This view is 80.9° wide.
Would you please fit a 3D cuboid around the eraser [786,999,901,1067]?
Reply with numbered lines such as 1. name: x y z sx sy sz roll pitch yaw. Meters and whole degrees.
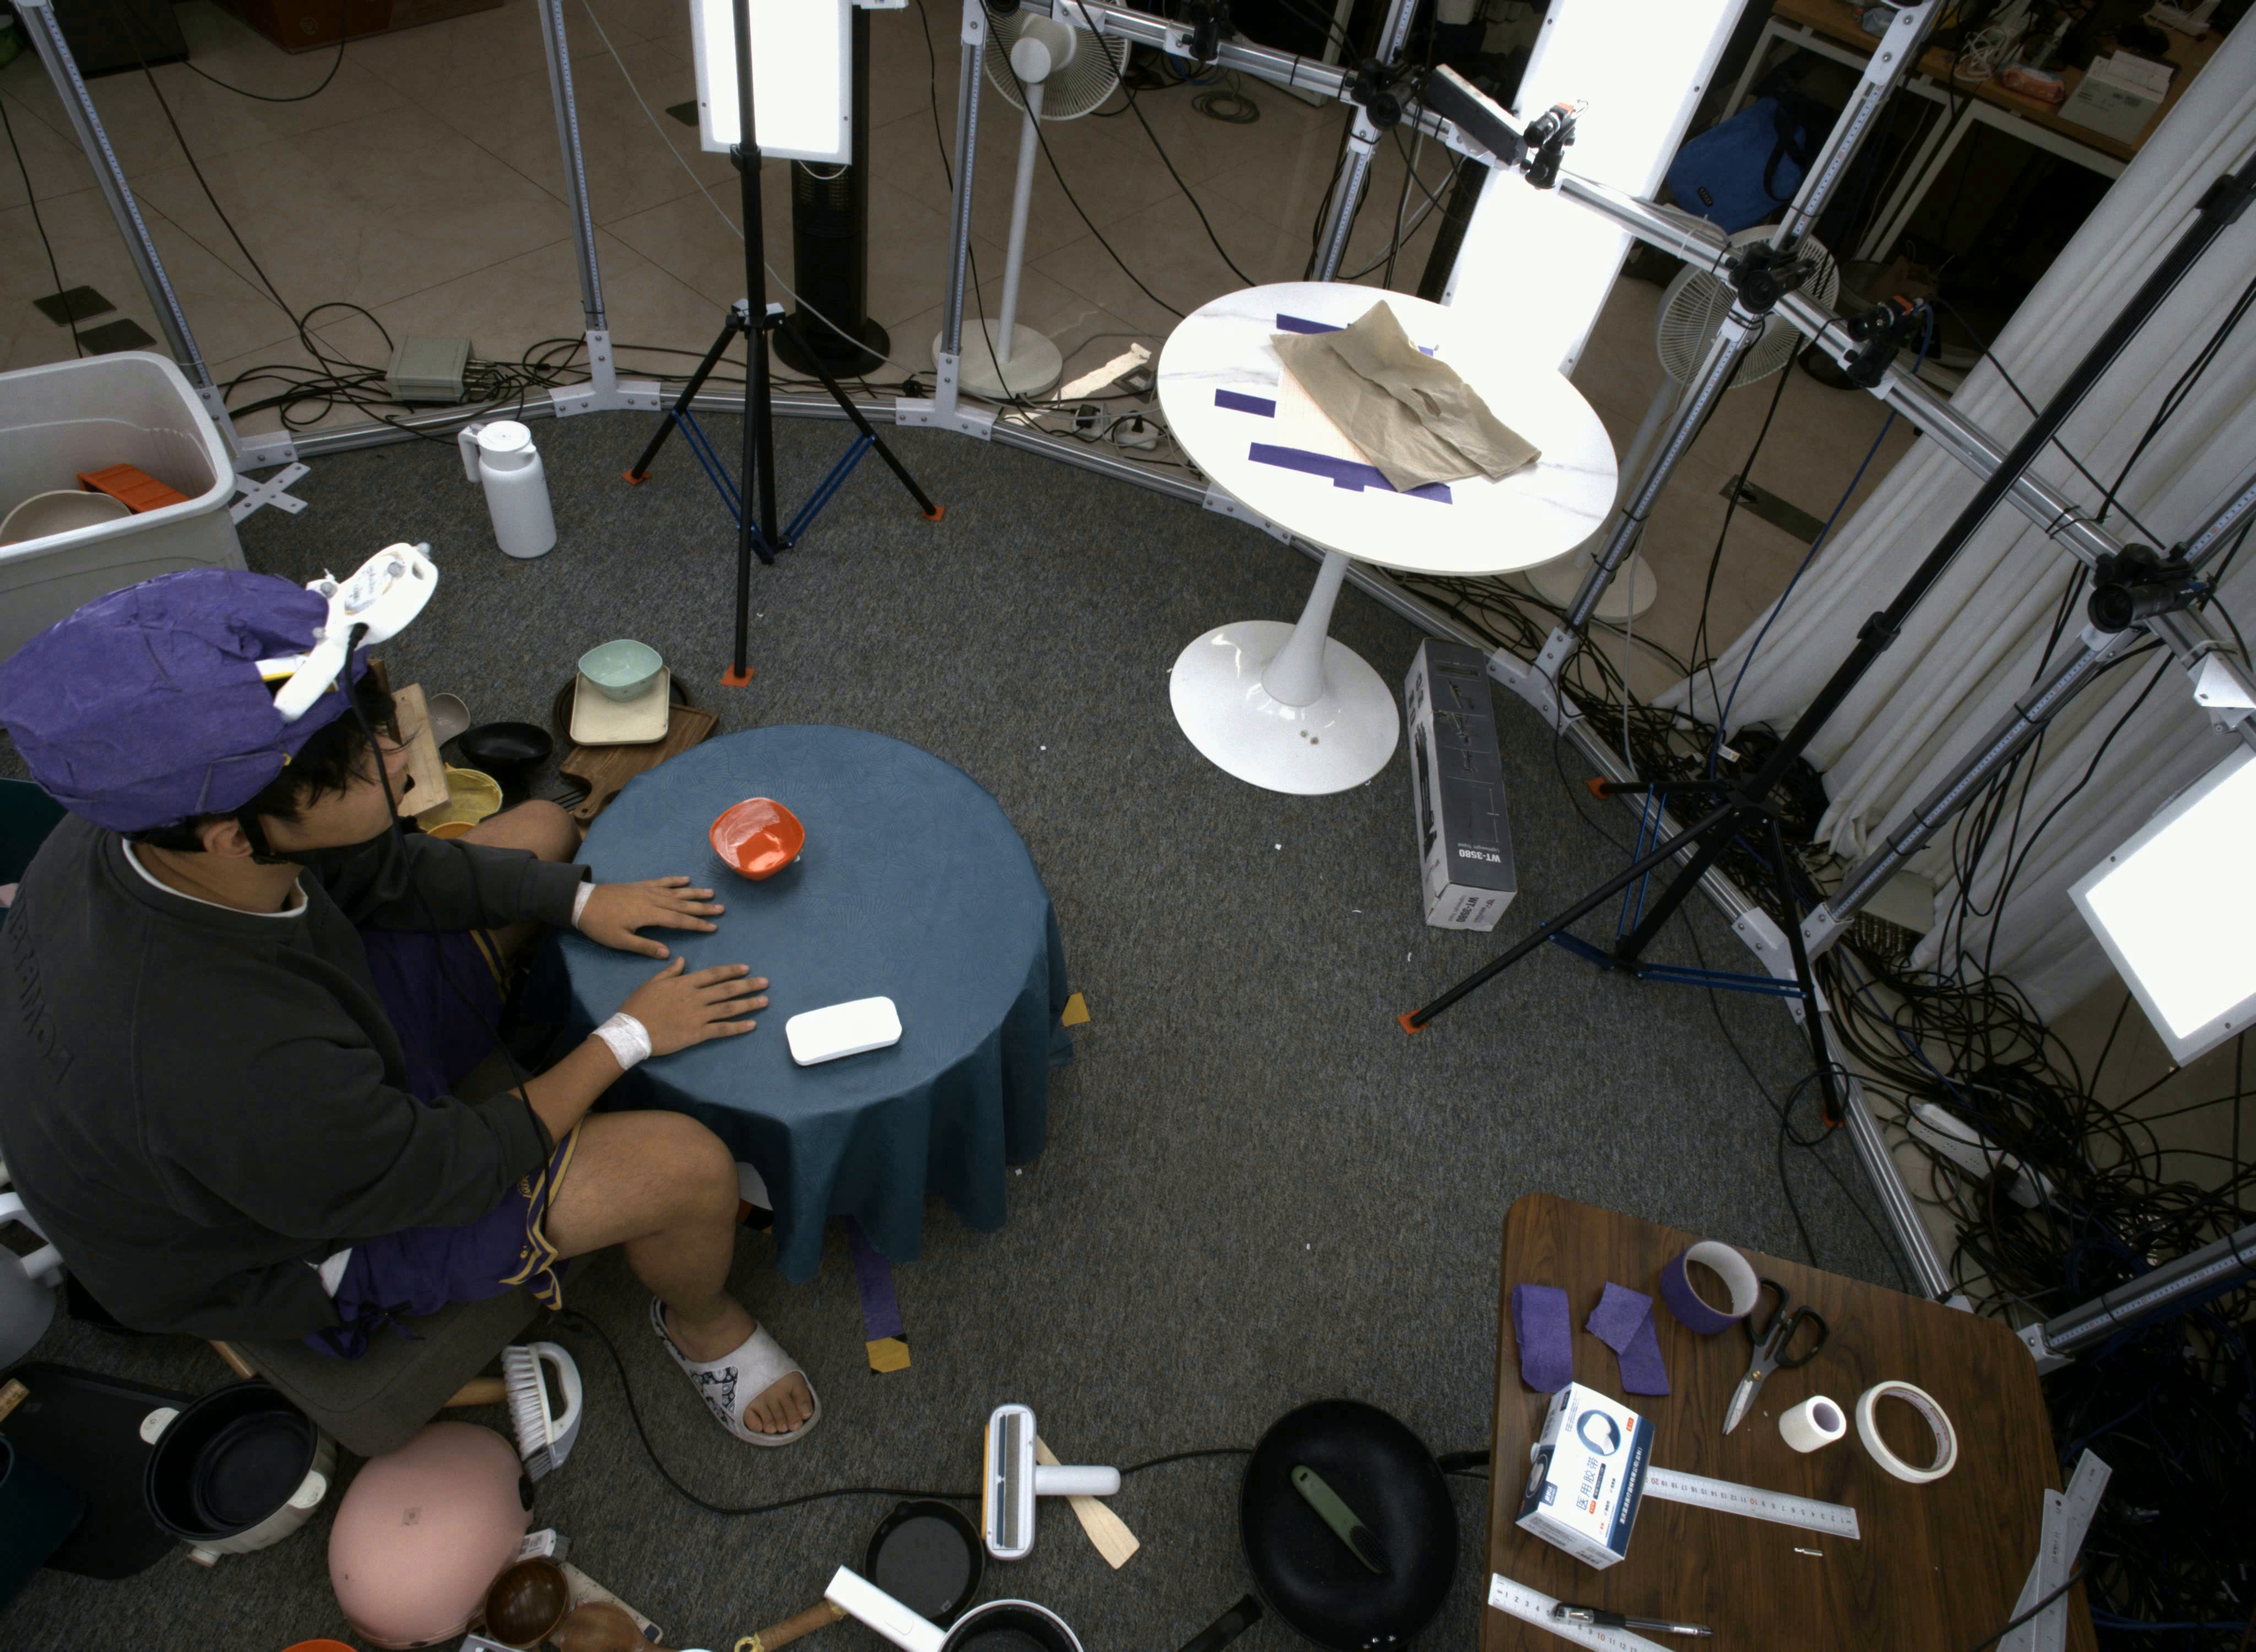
1. eraser: -0.339 0.242 1.549 0.132 0.035 0.062 -9 54 -22

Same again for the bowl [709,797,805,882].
1. bowl: -0.476 0.024 1.665 0.119 0.052 0.117 8 53 -9
